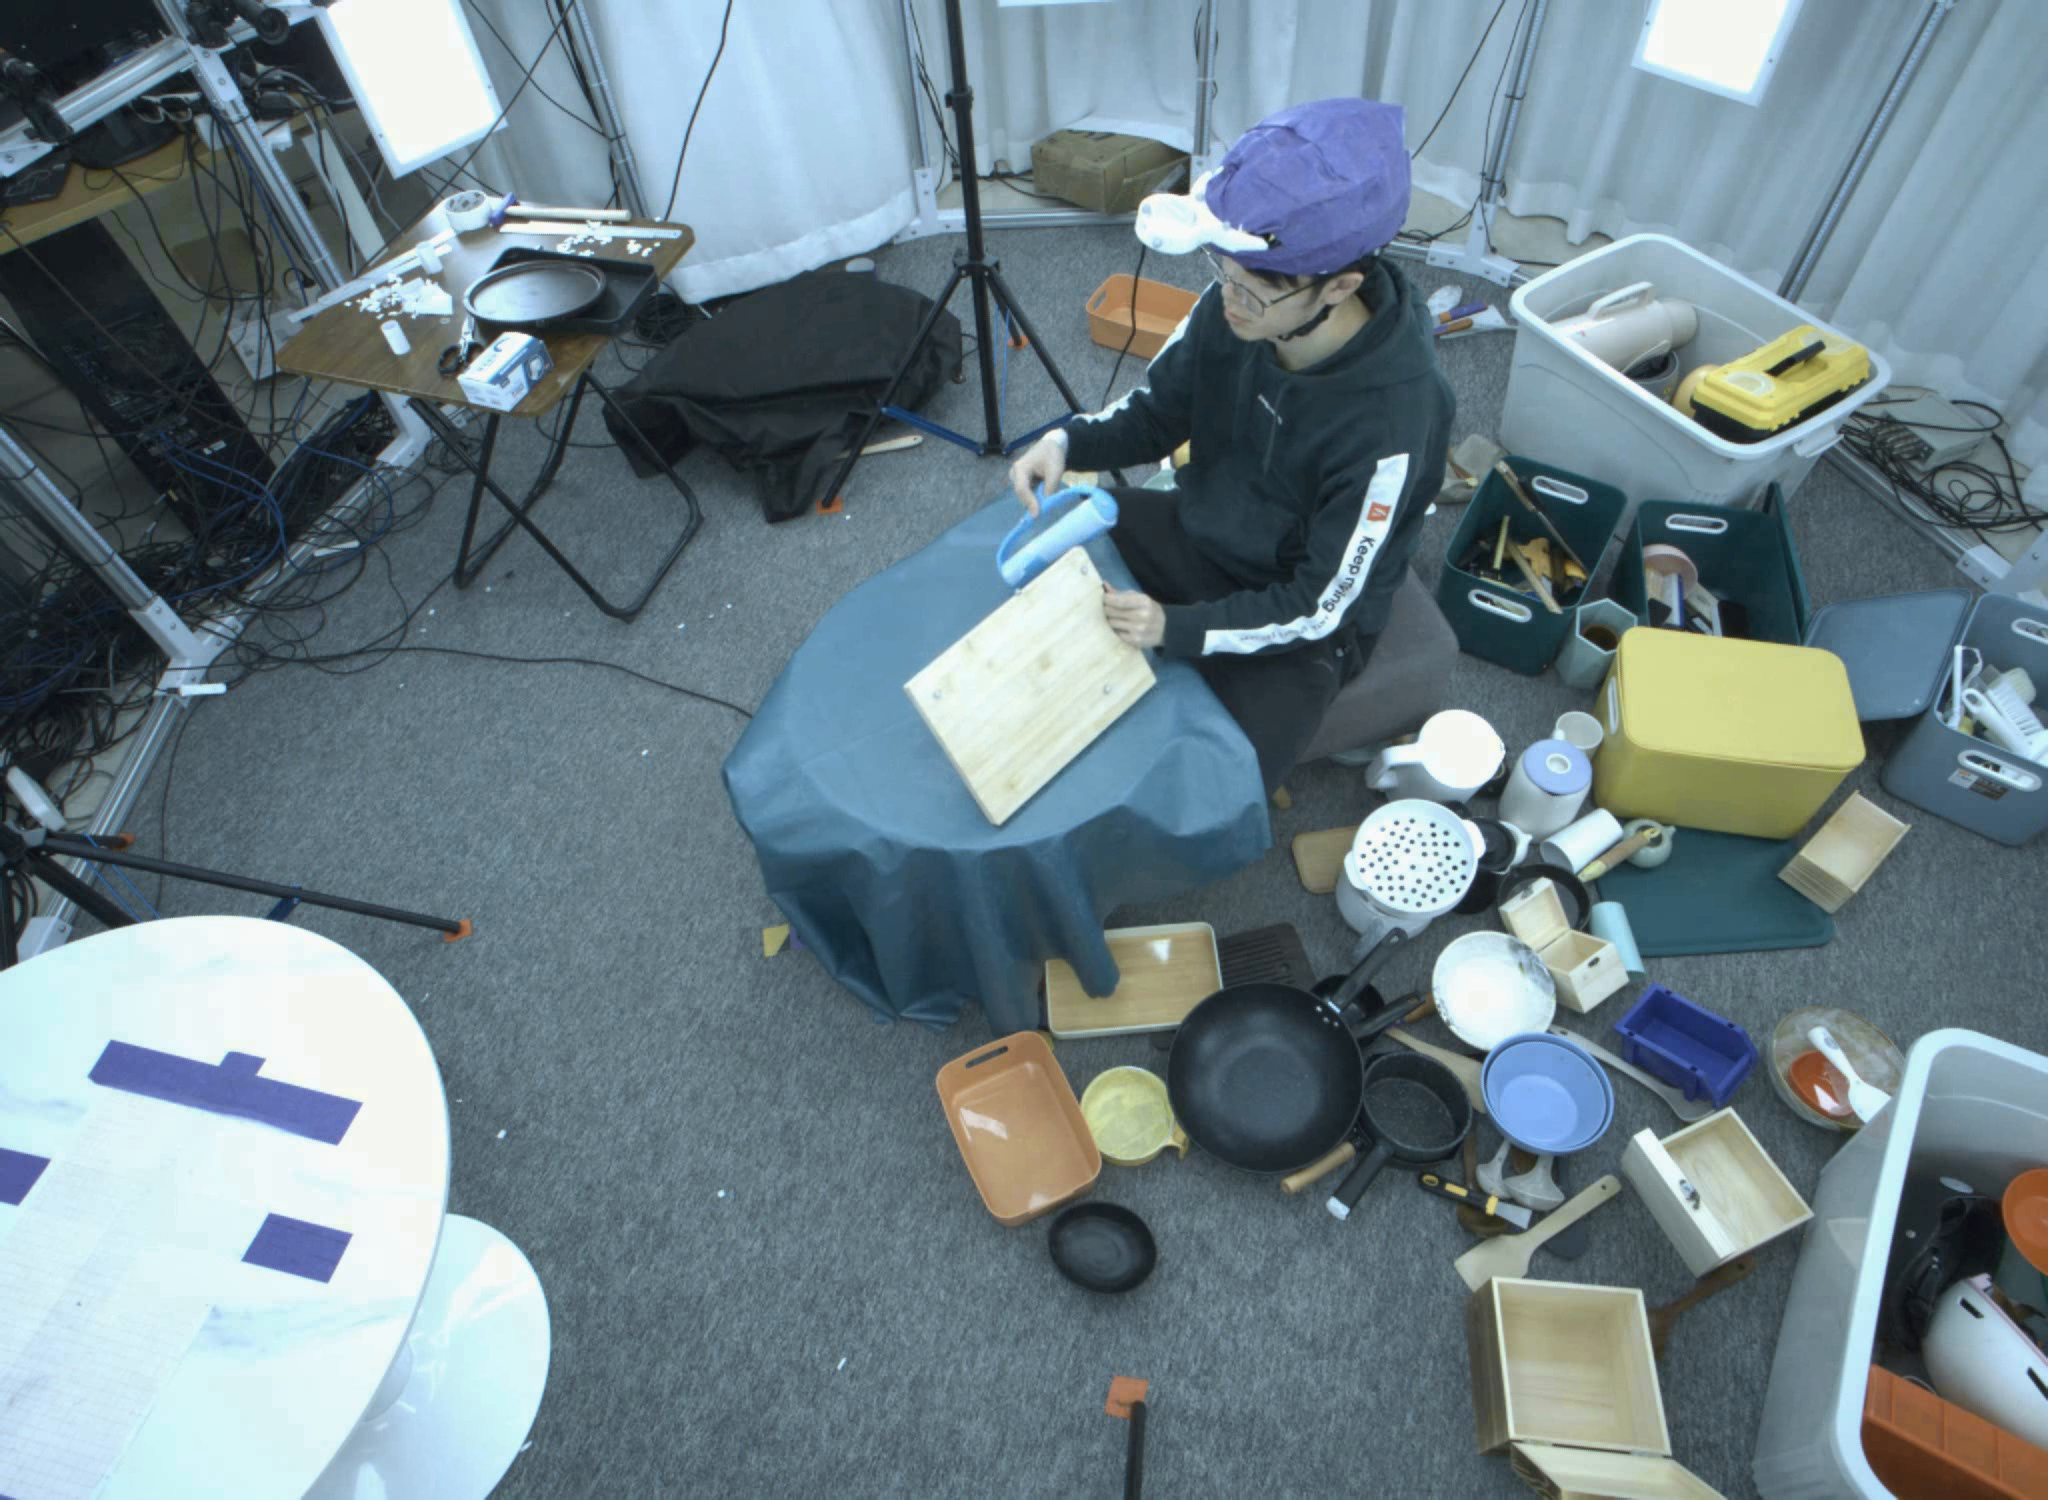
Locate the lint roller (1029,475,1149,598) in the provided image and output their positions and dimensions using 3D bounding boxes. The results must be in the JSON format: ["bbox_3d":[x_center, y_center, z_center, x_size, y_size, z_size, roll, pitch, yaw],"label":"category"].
[{"bbox_3d":[0.086,-0.345,1.826,0.069,0.226,0.178,15,53,-38],"label":"lint roller"}]

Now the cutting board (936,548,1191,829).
[{"bbox_3d":[0.063,-0.089,1.718,0.351,0.254,0.023,-41,26,-22],"label":"cutting board"}]
